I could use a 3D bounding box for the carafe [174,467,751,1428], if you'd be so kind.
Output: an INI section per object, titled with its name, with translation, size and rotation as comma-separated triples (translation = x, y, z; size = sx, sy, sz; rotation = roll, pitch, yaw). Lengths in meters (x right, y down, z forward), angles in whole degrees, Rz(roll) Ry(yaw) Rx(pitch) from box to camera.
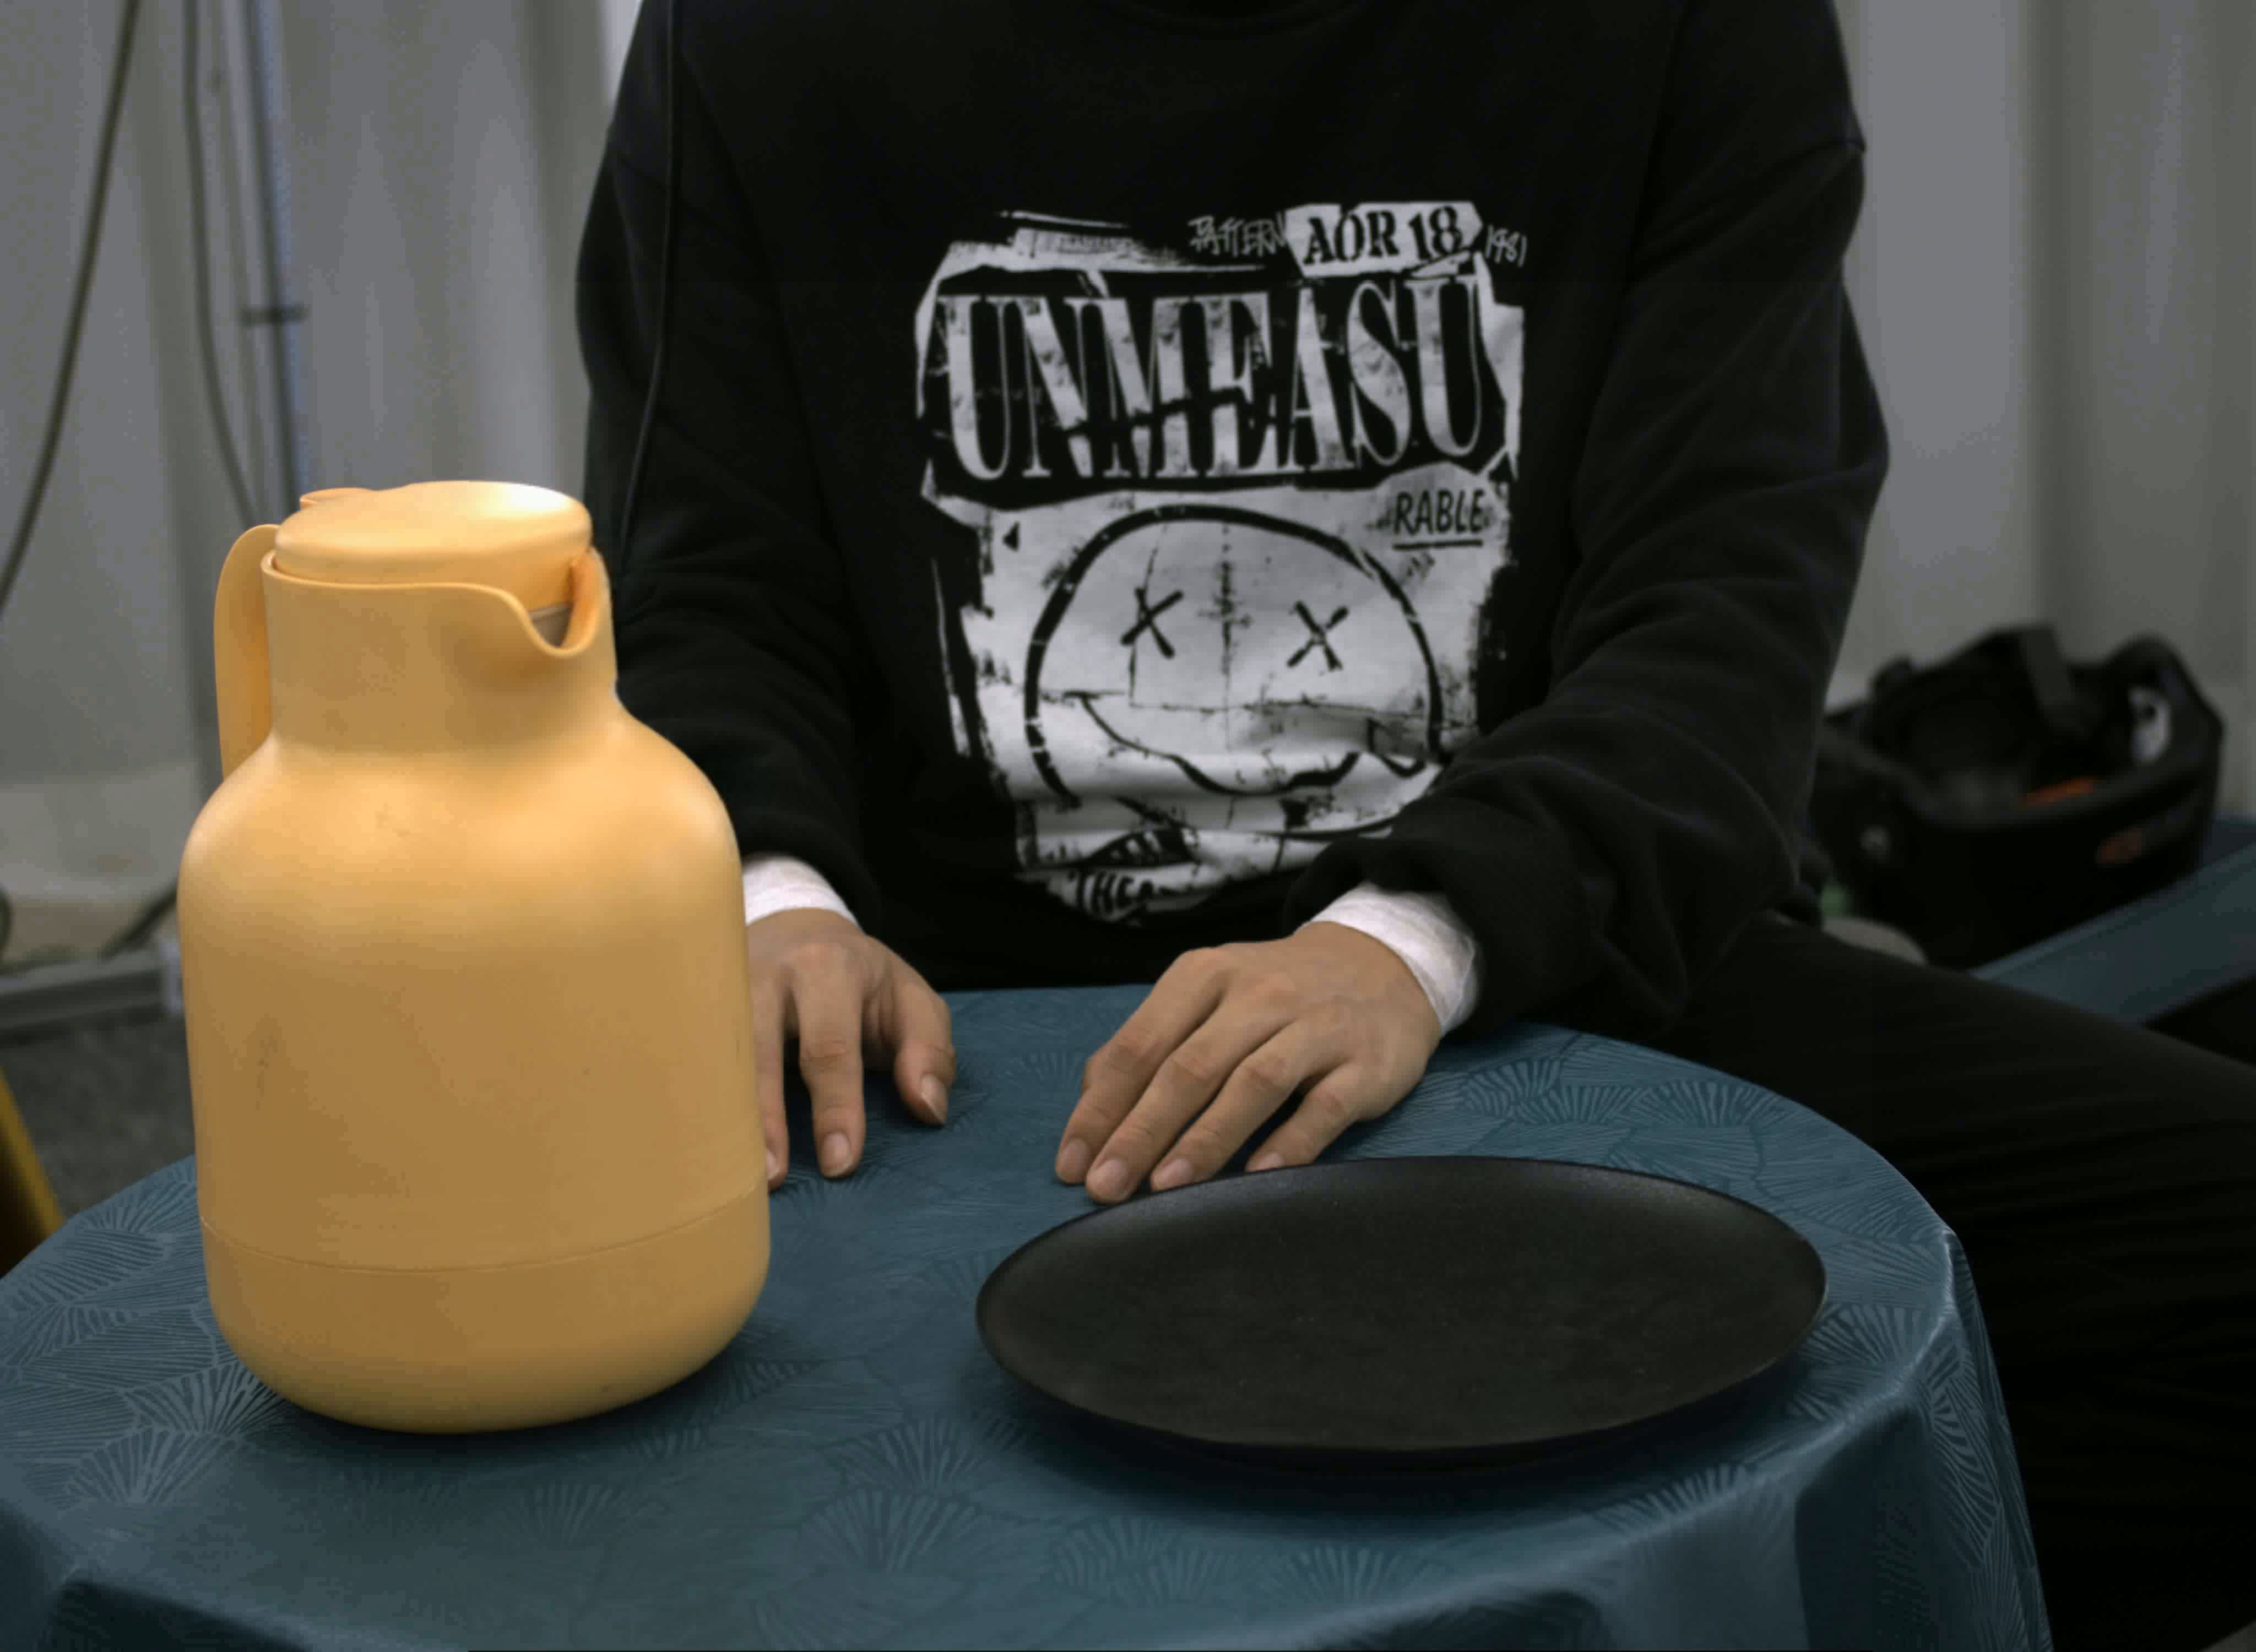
[carafe]
translation = -0.199, 0.026, 1.576
size = 0.163, 0.259, 0.204
rotation = -8, 17, -32

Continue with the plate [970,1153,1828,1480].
[plate]
translation = 0.077, 0.142, 1.552
size = 0.243, 0.023, 0.246
rotation = -3, 15, 0
